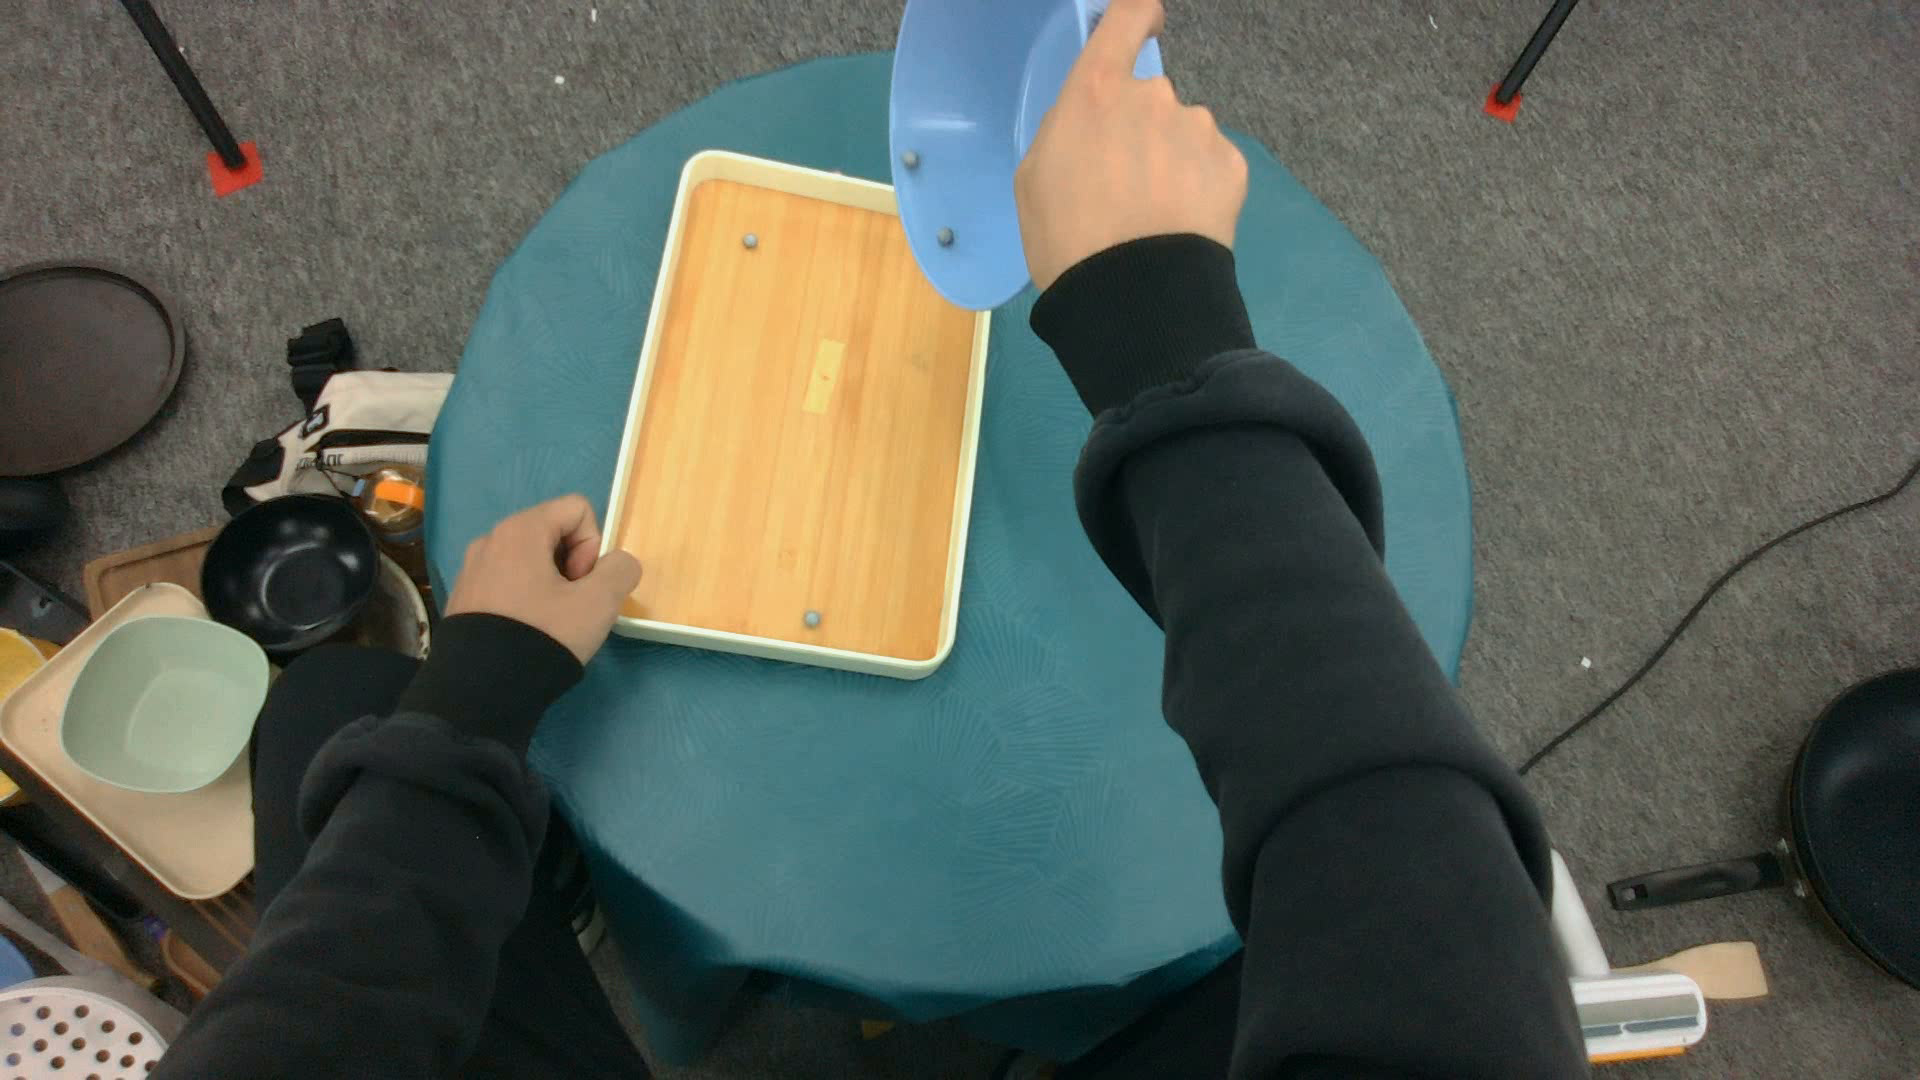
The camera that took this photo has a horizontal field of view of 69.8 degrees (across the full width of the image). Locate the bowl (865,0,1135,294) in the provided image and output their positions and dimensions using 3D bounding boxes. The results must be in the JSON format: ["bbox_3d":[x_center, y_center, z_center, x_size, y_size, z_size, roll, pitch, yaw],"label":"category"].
[{"bbox_3d":[0.023,-0.205,0.648,0.070,0.175,0.176,-6,67,-30],"label":"bowl"}]

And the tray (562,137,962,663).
[{"bbox_3d":[-0.101,-0.086,0.778,0.192,0.027,0.301,9,66,-8],"label":"tray"}]
